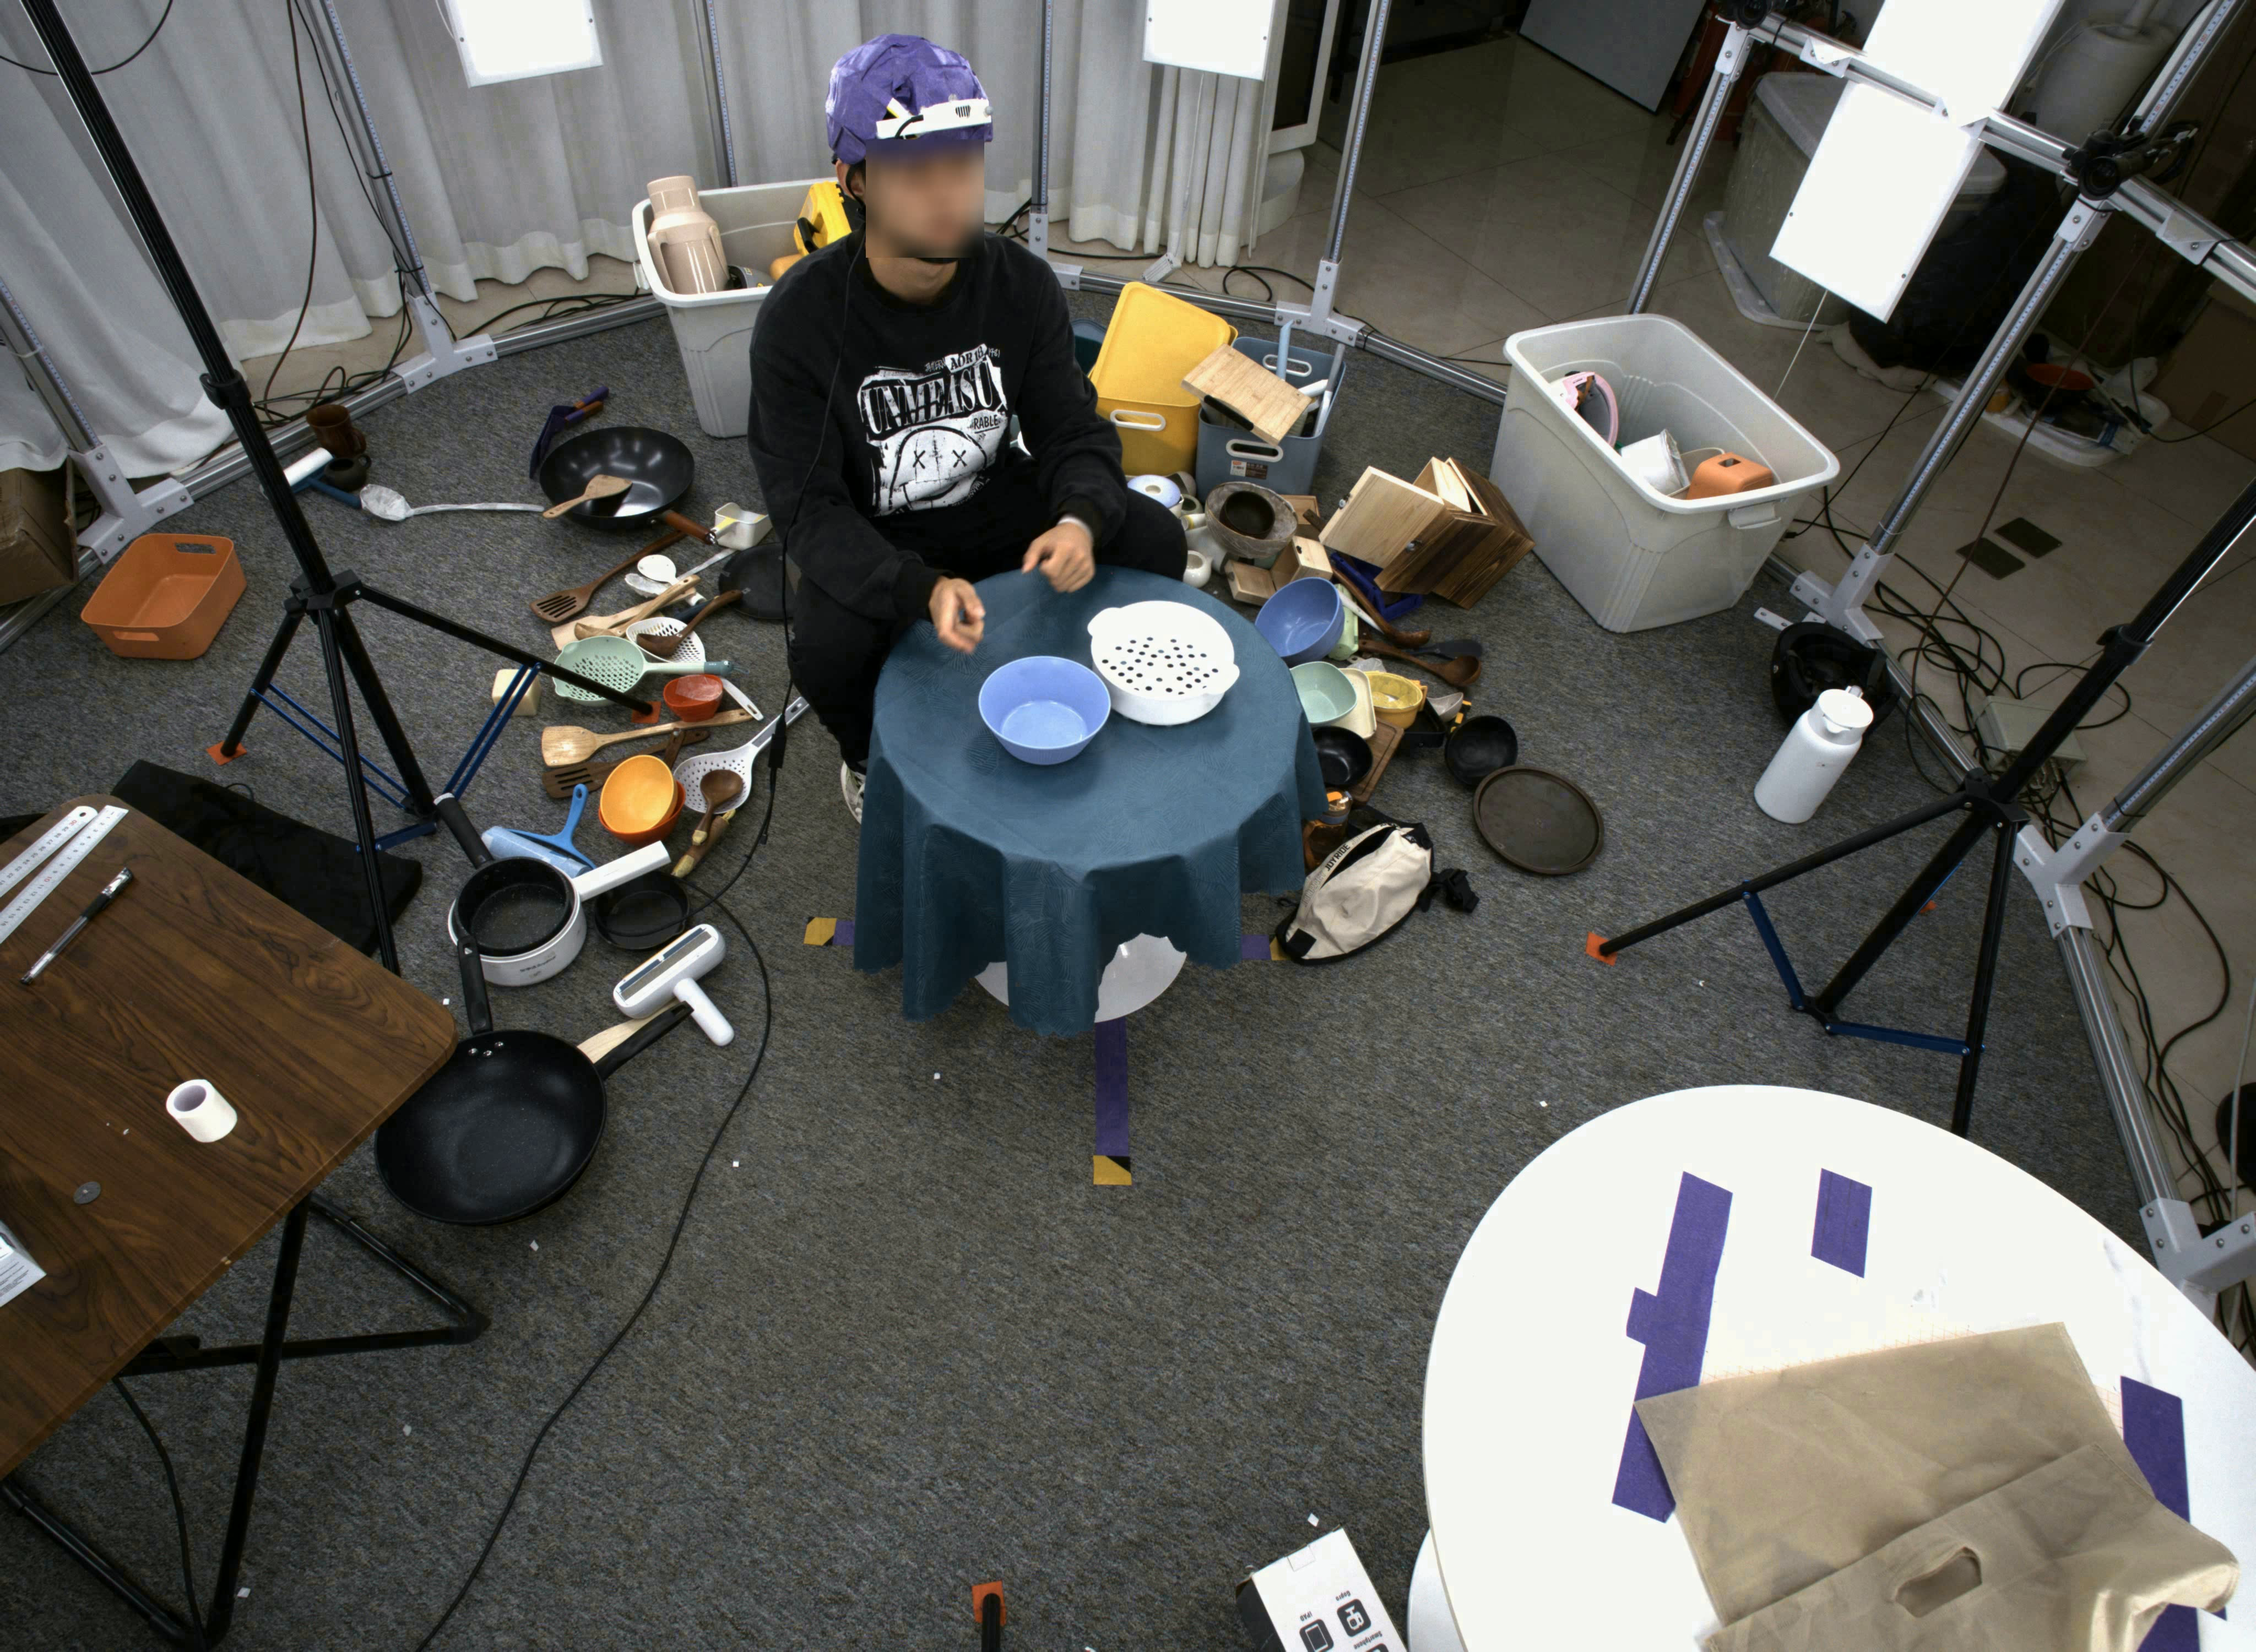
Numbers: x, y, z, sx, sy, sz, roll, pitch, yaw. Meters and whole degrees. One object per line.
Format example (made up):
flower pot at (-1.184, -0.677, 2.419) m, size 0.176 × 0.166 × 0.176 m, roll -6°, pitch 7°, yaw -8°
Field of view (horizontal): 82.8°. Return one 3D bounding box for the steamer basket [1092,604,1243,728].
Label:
steamer basket at (0.052, -0.229, 1.843) m, size 0.232 × 0.067 × 0.205 m, roll 29°, pitch 53°, yaw 17°

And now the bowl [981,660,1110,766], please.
bowl at (-0.114, -0.146, 1.758) m, size 0.176 × 0.068 × 0.180 m, roll 2°, pitch 48°, yaw -3°
